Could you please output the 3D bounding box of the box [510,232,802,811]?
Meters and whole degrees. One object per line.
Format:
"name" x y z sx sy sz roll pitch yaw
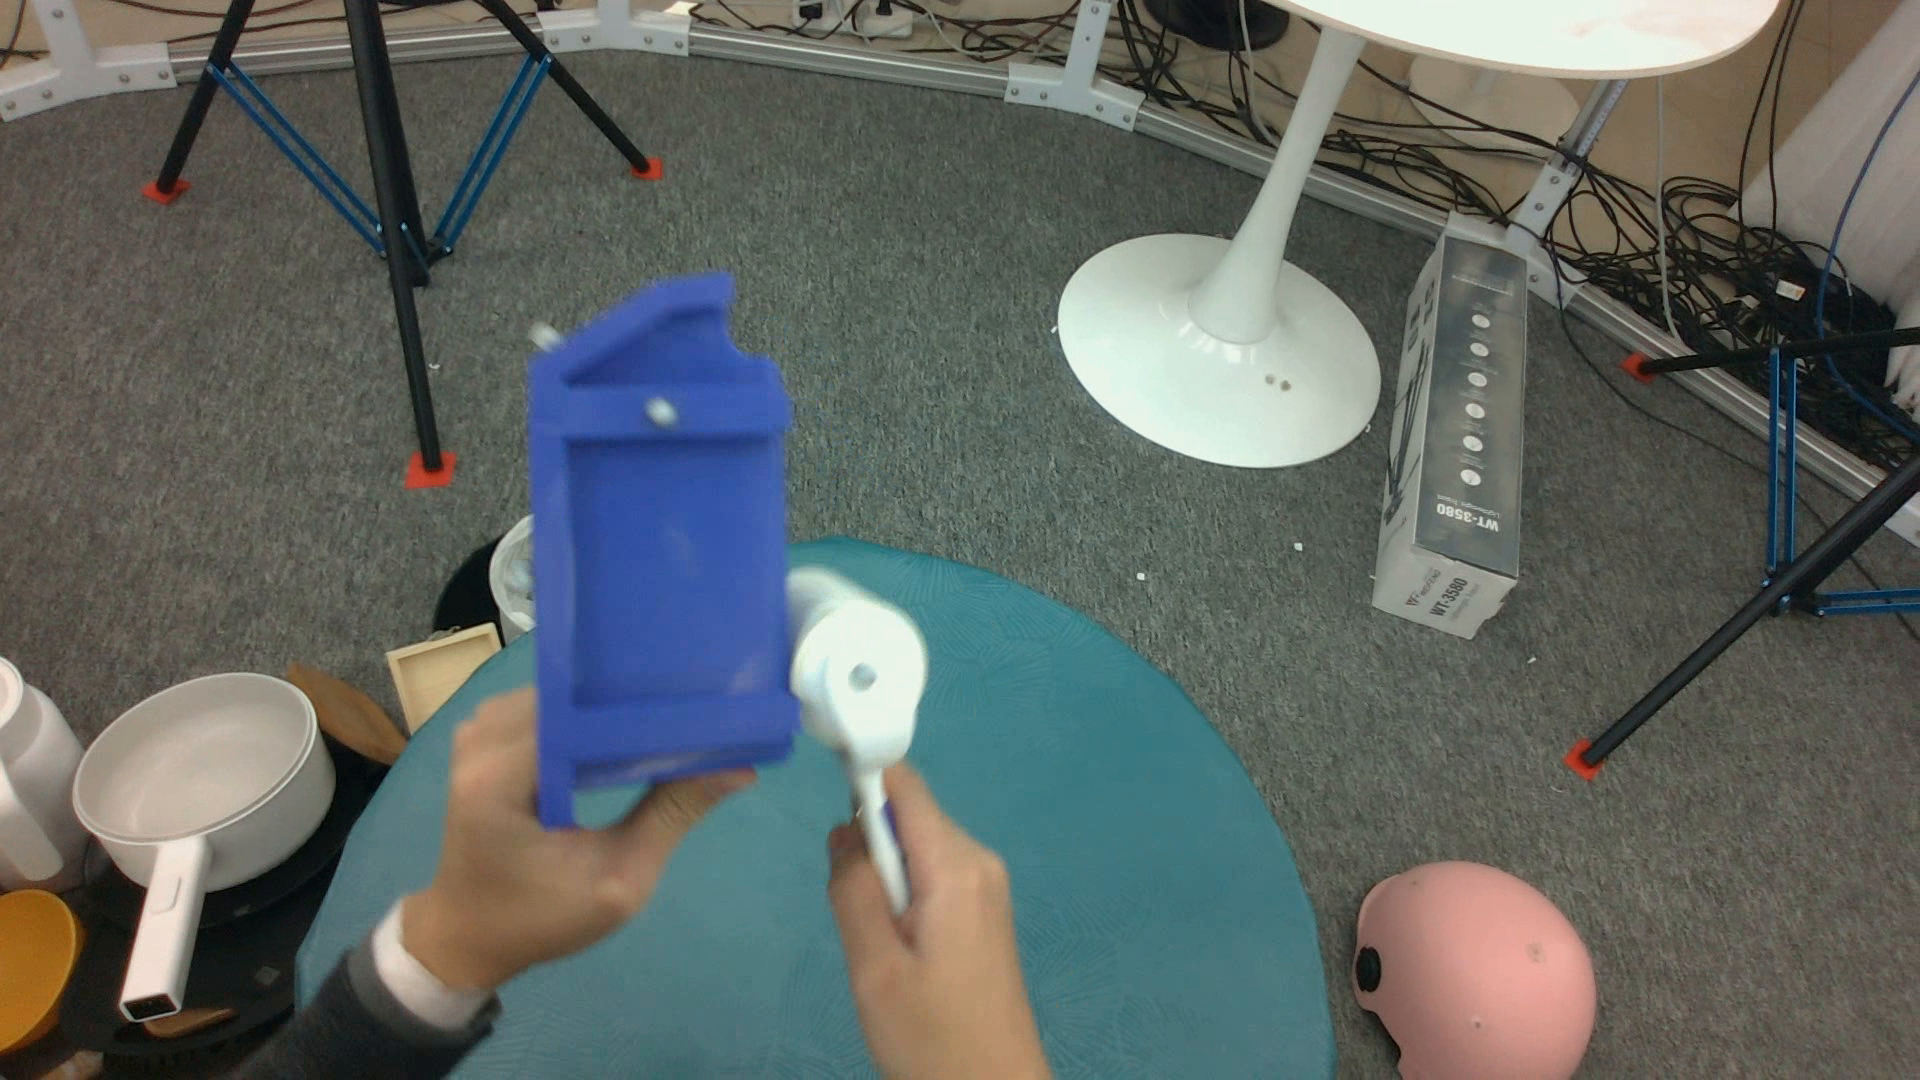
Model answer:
"box" -0.114 -0.006 0.493 0.082 0.124 0.179 -6 88 -18

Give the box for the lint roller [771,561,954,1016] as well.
"lint roller" -0.025 0.095 0.520 0.050 0.133 0.180 -27 102 -16
